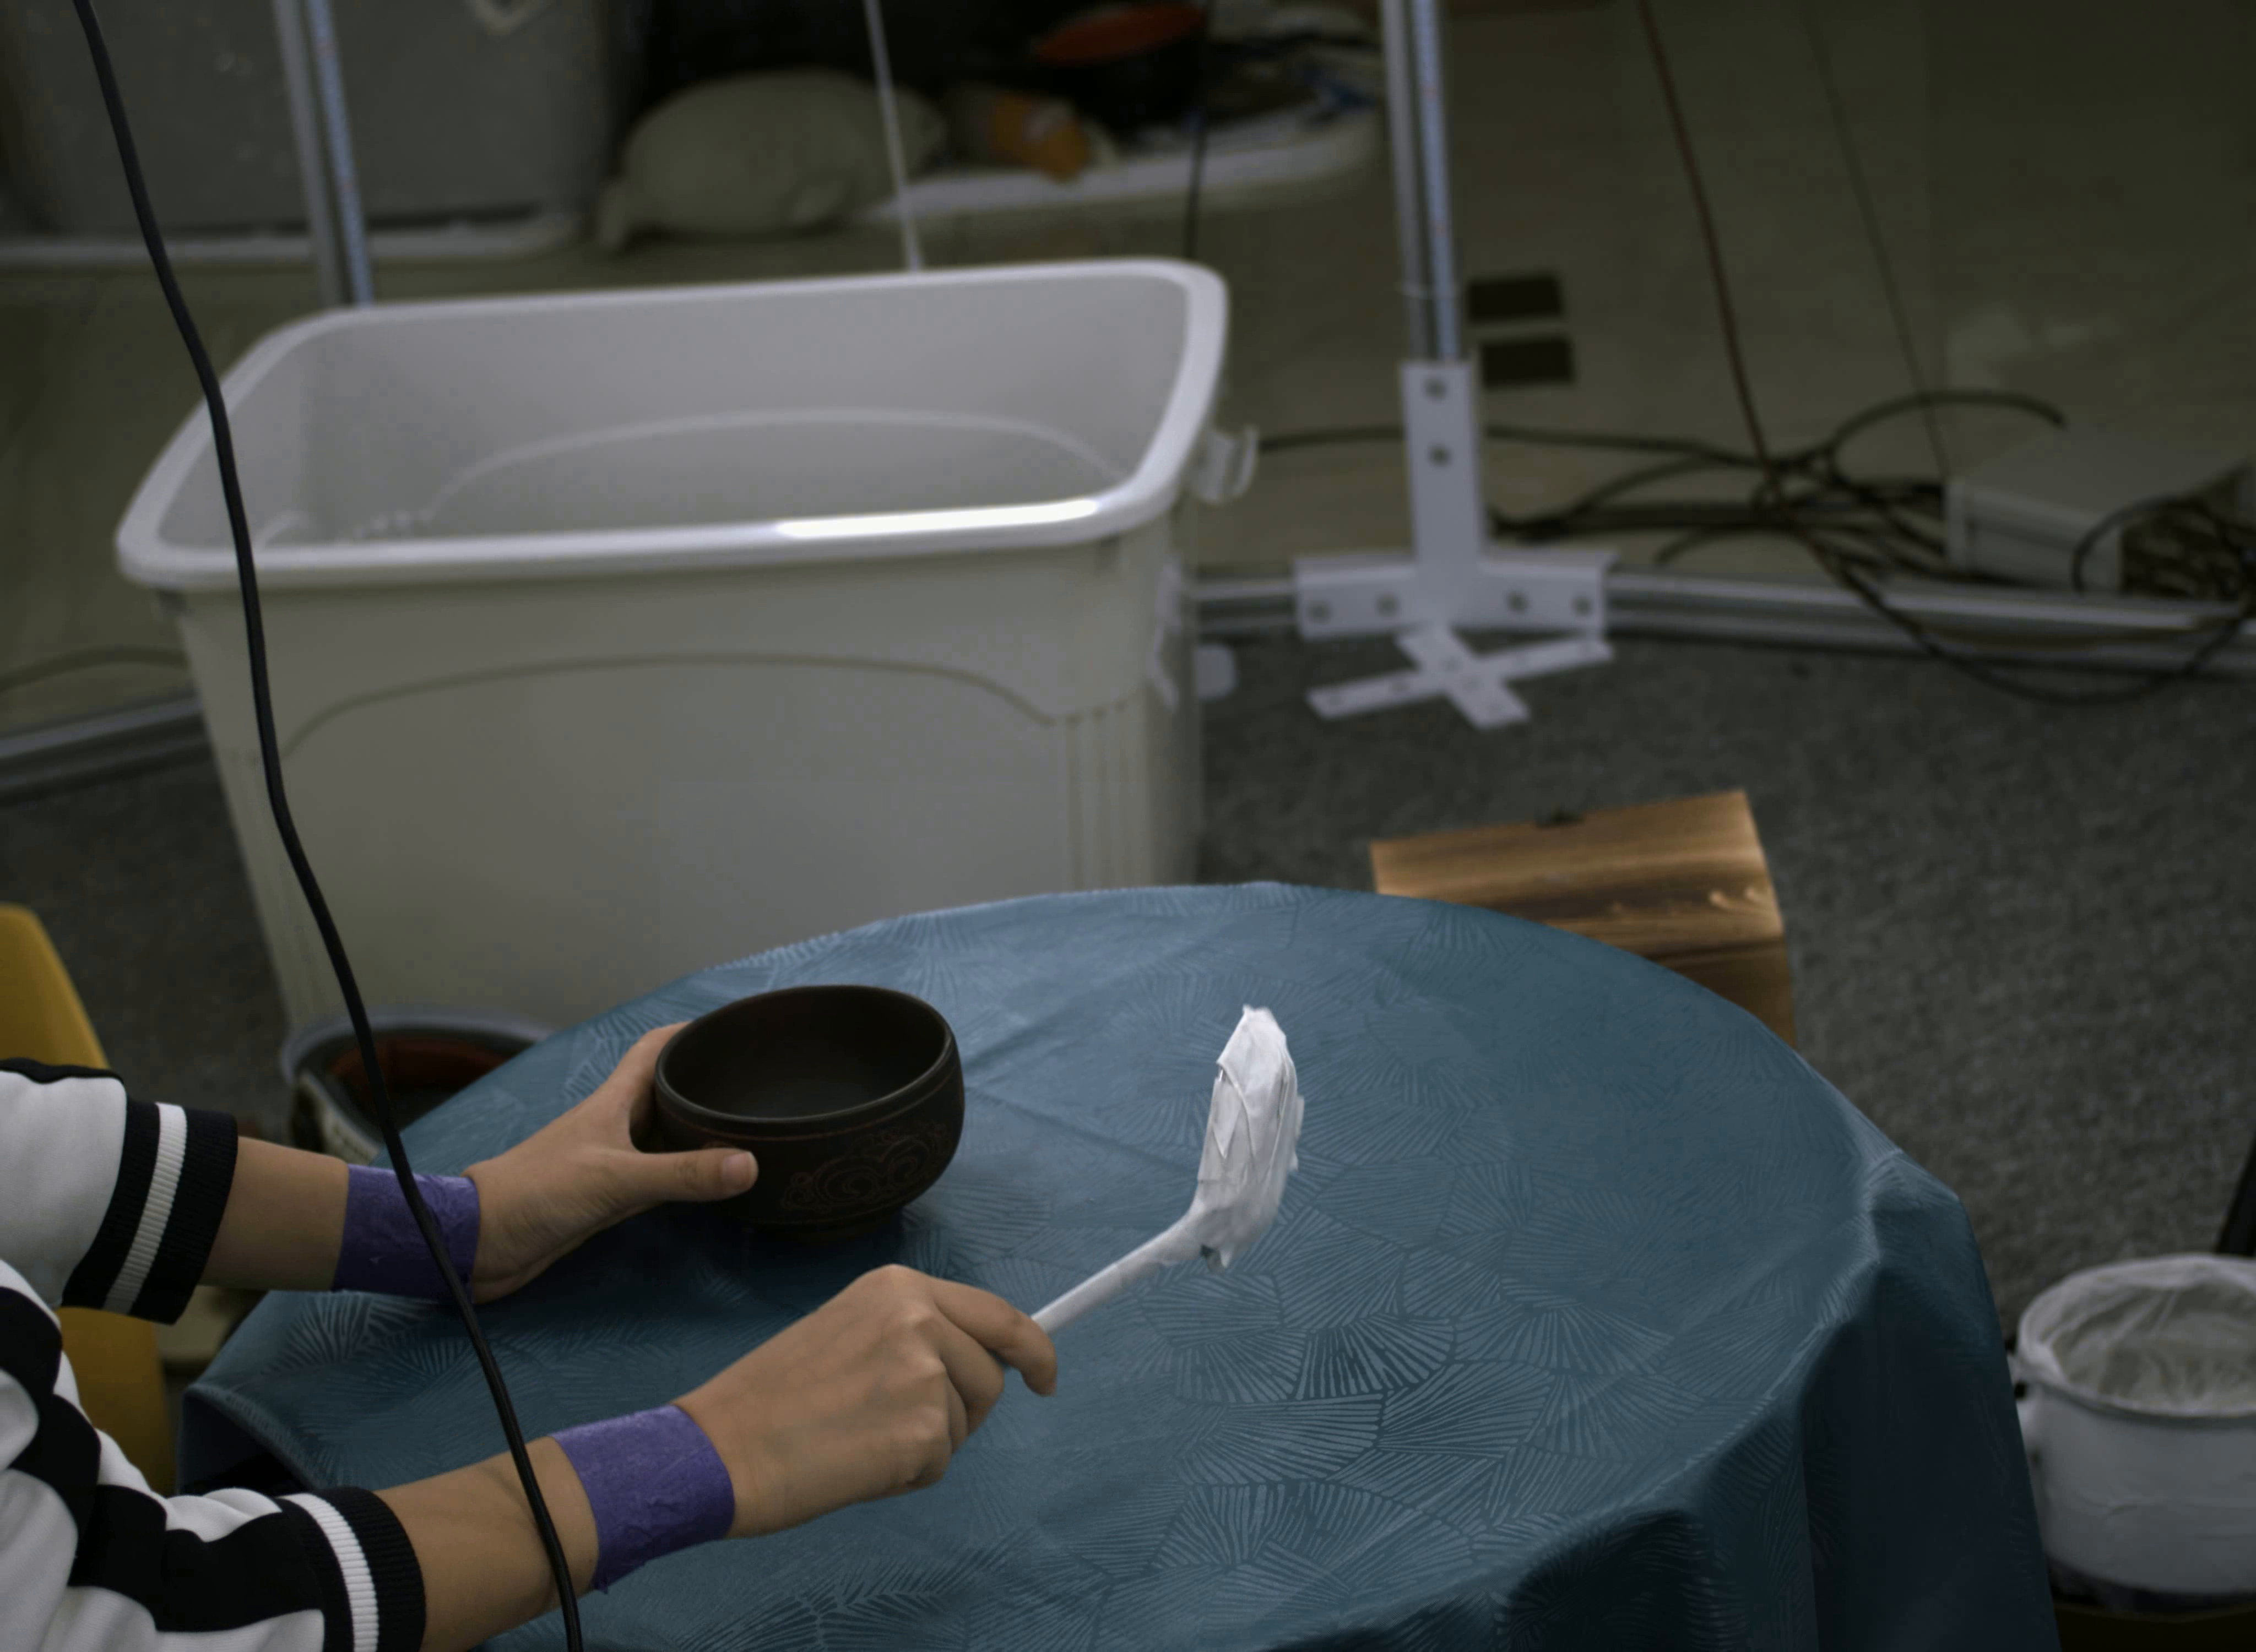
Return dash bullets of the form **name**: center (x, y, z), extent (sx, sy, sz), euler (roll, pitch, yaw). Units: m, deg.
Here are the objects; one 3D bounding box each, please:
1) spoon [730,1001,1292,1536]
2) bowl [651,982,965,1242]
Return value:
- **spoon**: center (-0.039, 0.158, 1.947), extent (0.275, 0.102, 0.058), euler (-32, 45, -25)
- **bowl**: center (-0.119, 0.114, 2.143), extent (0.118, 0.071, 0.116), euler (-5, 25, 3)
